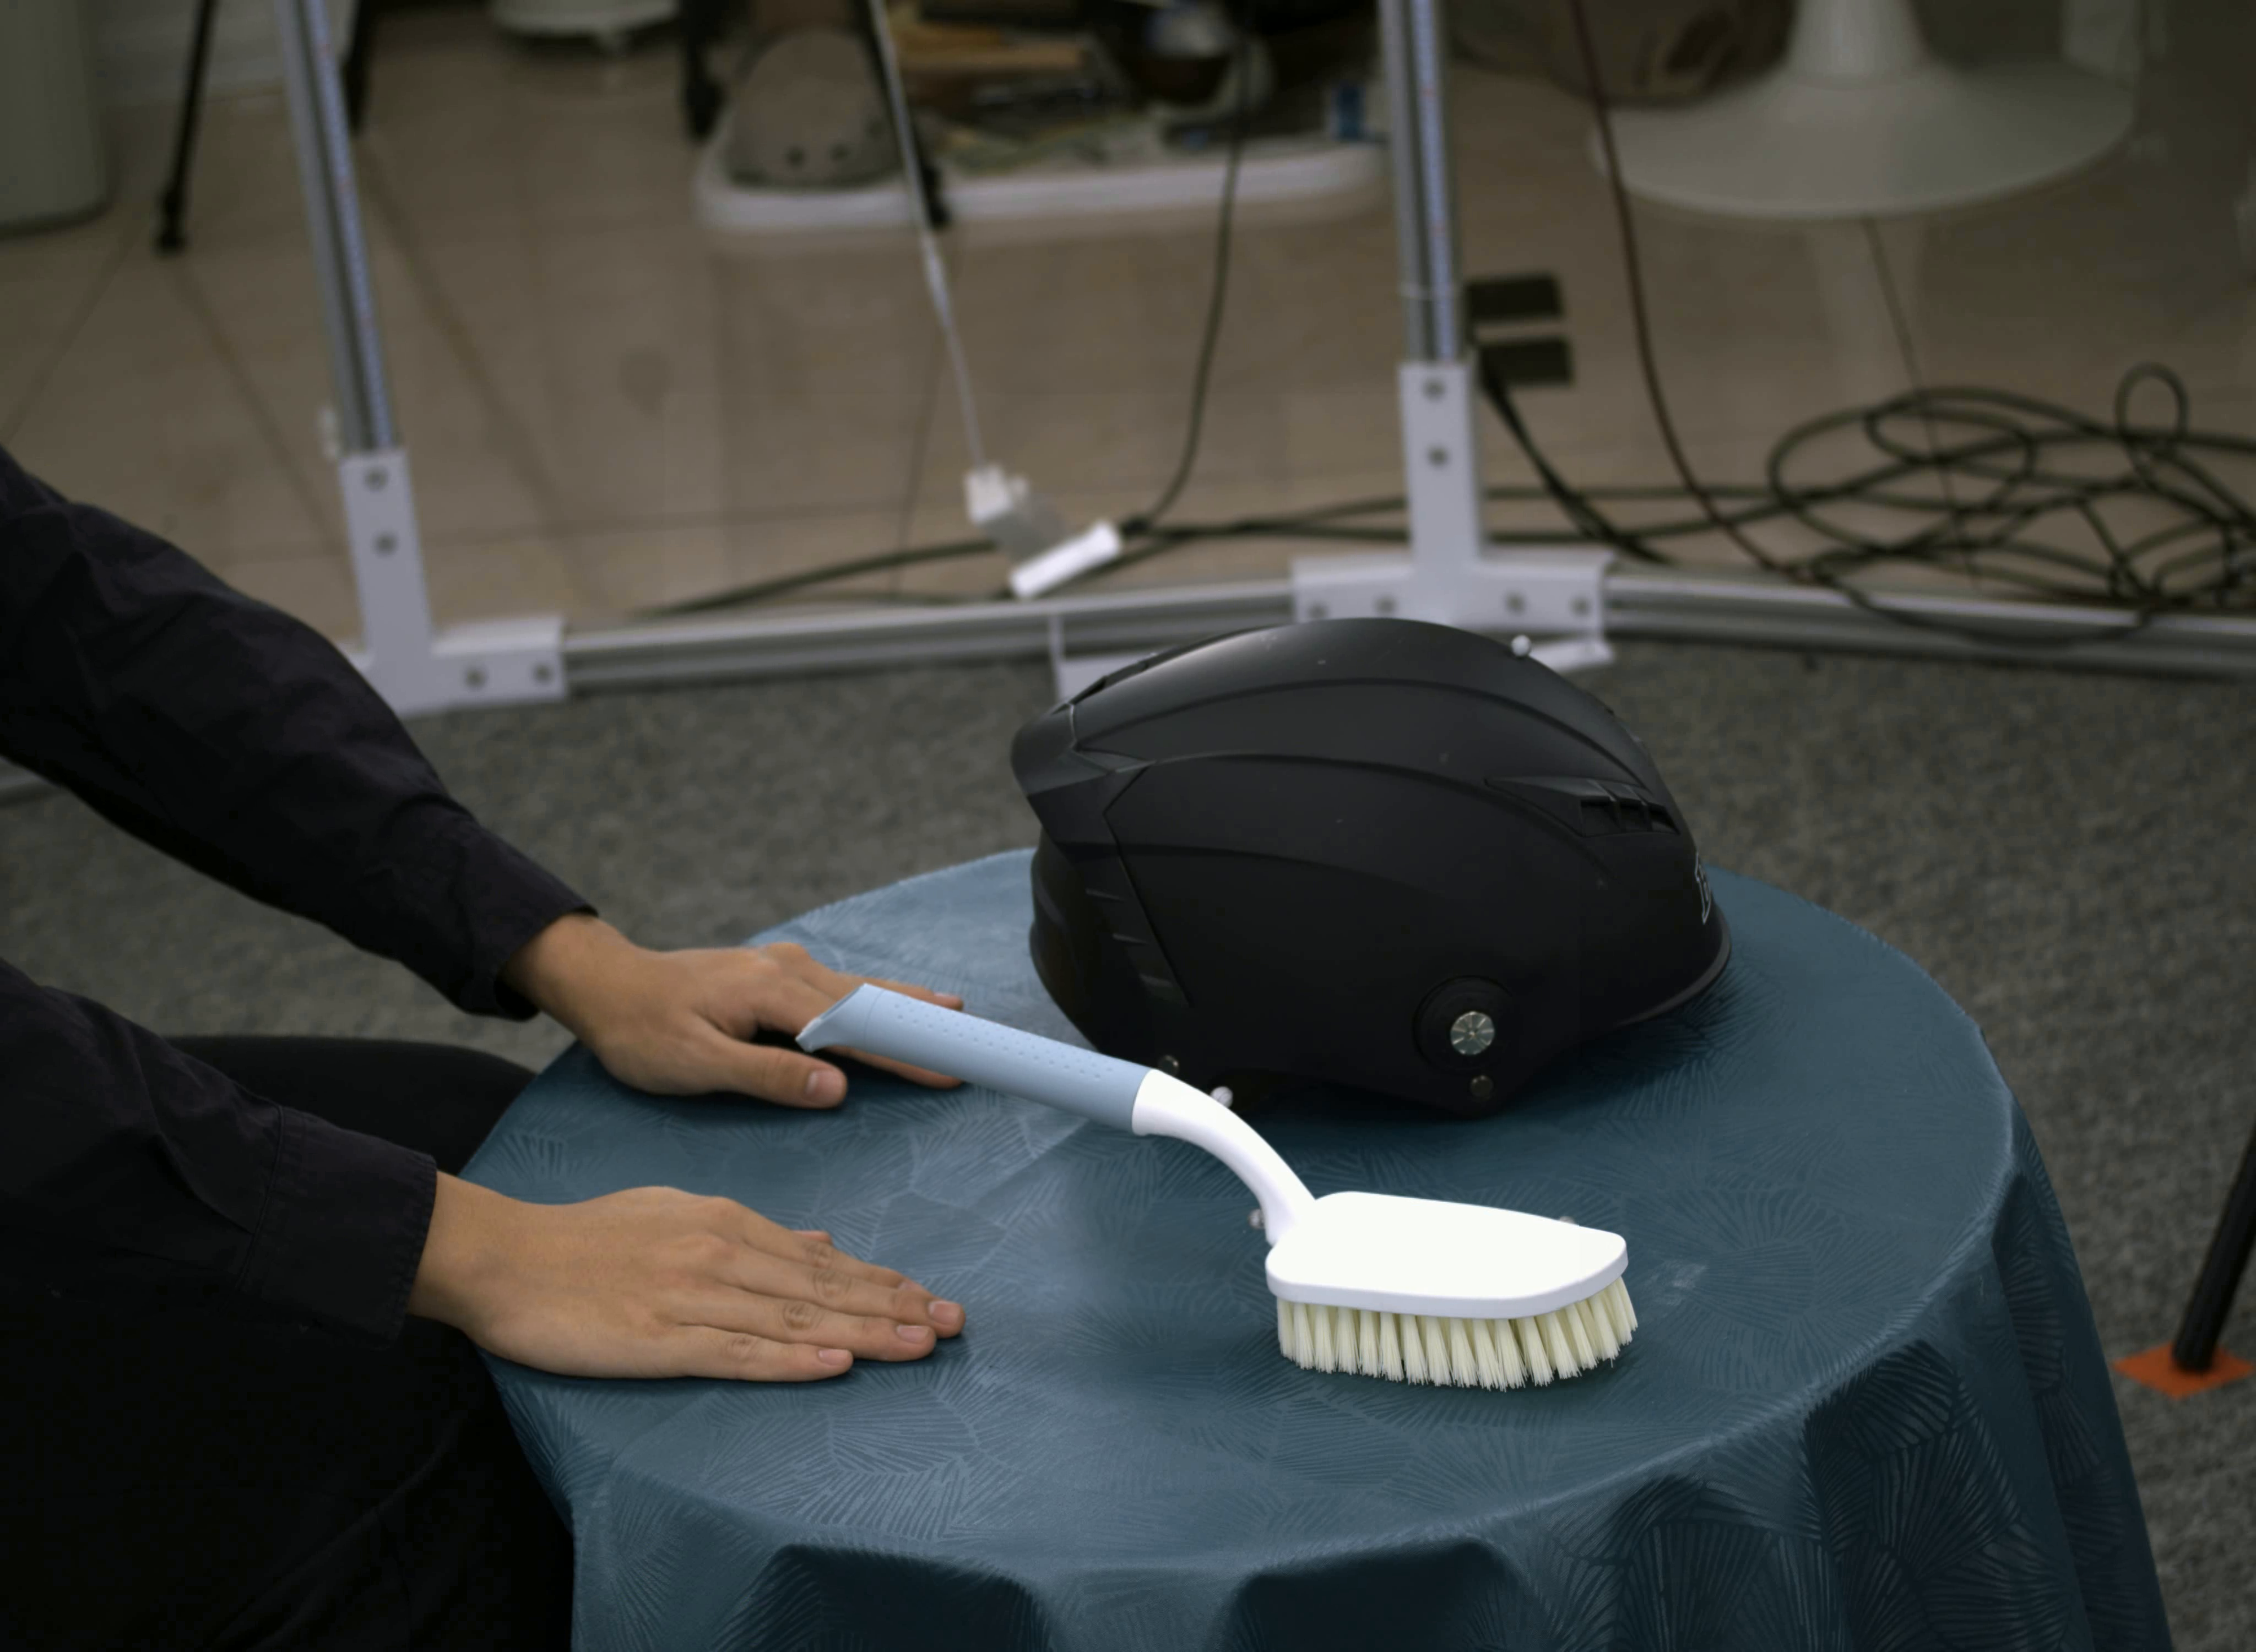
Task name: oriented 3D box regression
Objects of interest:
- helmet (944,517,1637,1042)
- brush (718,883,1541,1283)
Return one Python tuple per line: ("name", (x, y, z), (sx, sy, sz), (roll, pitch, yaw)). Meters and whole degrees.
("helmet", (0.064, -0.035, 2.250), (0.276, 0.175, 0.243), (-3, 27, 0))
("brush", (-0.003, 0.104, 2.071), (0.324, 0.084, 0.083), (17, -5, 17))
